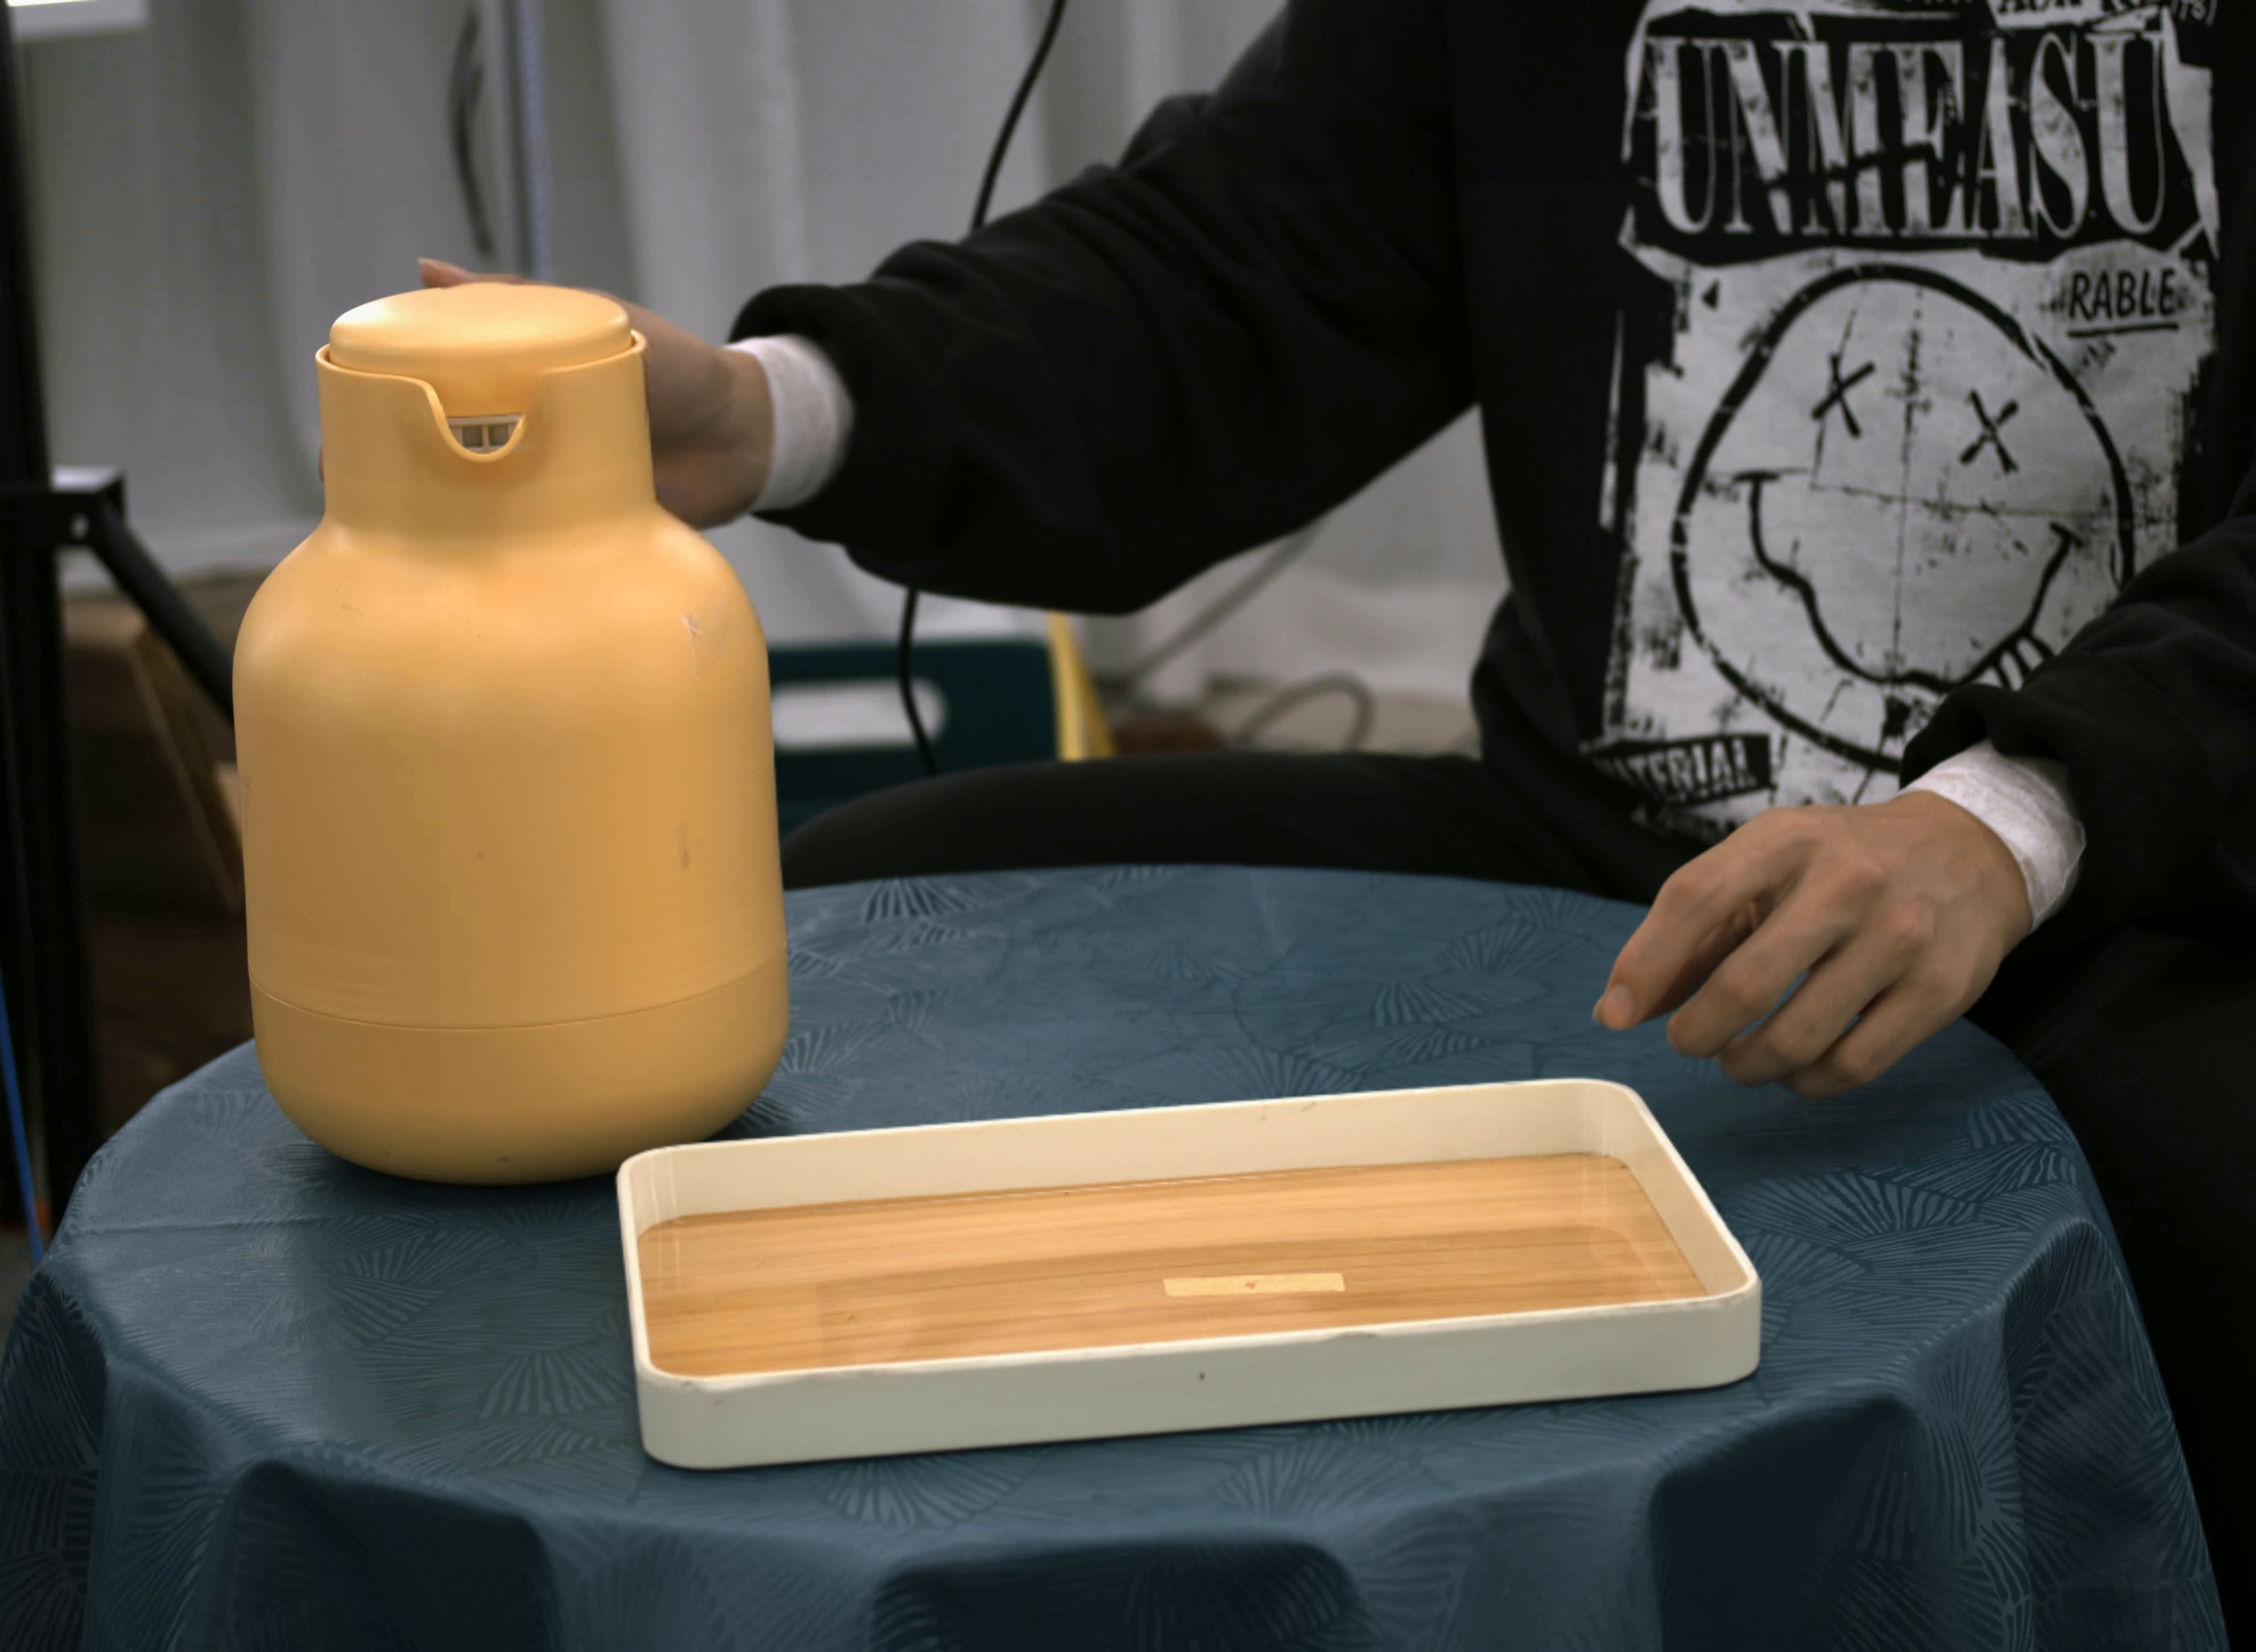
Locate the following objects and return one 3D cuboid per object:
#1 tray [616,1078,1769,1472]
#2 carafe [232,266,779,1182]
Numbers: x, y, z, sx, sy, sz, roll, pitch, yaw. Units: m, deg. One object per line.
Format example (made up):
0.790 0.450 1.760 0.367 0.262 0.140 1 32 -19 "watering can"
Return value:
0.012 0.121 1.459 0.298 0.027 0.193 -4 16 -4 "tray"
-0.188 -0.039 1.626 0.162 0.260 0.204 0 17 -3 "carafe"
